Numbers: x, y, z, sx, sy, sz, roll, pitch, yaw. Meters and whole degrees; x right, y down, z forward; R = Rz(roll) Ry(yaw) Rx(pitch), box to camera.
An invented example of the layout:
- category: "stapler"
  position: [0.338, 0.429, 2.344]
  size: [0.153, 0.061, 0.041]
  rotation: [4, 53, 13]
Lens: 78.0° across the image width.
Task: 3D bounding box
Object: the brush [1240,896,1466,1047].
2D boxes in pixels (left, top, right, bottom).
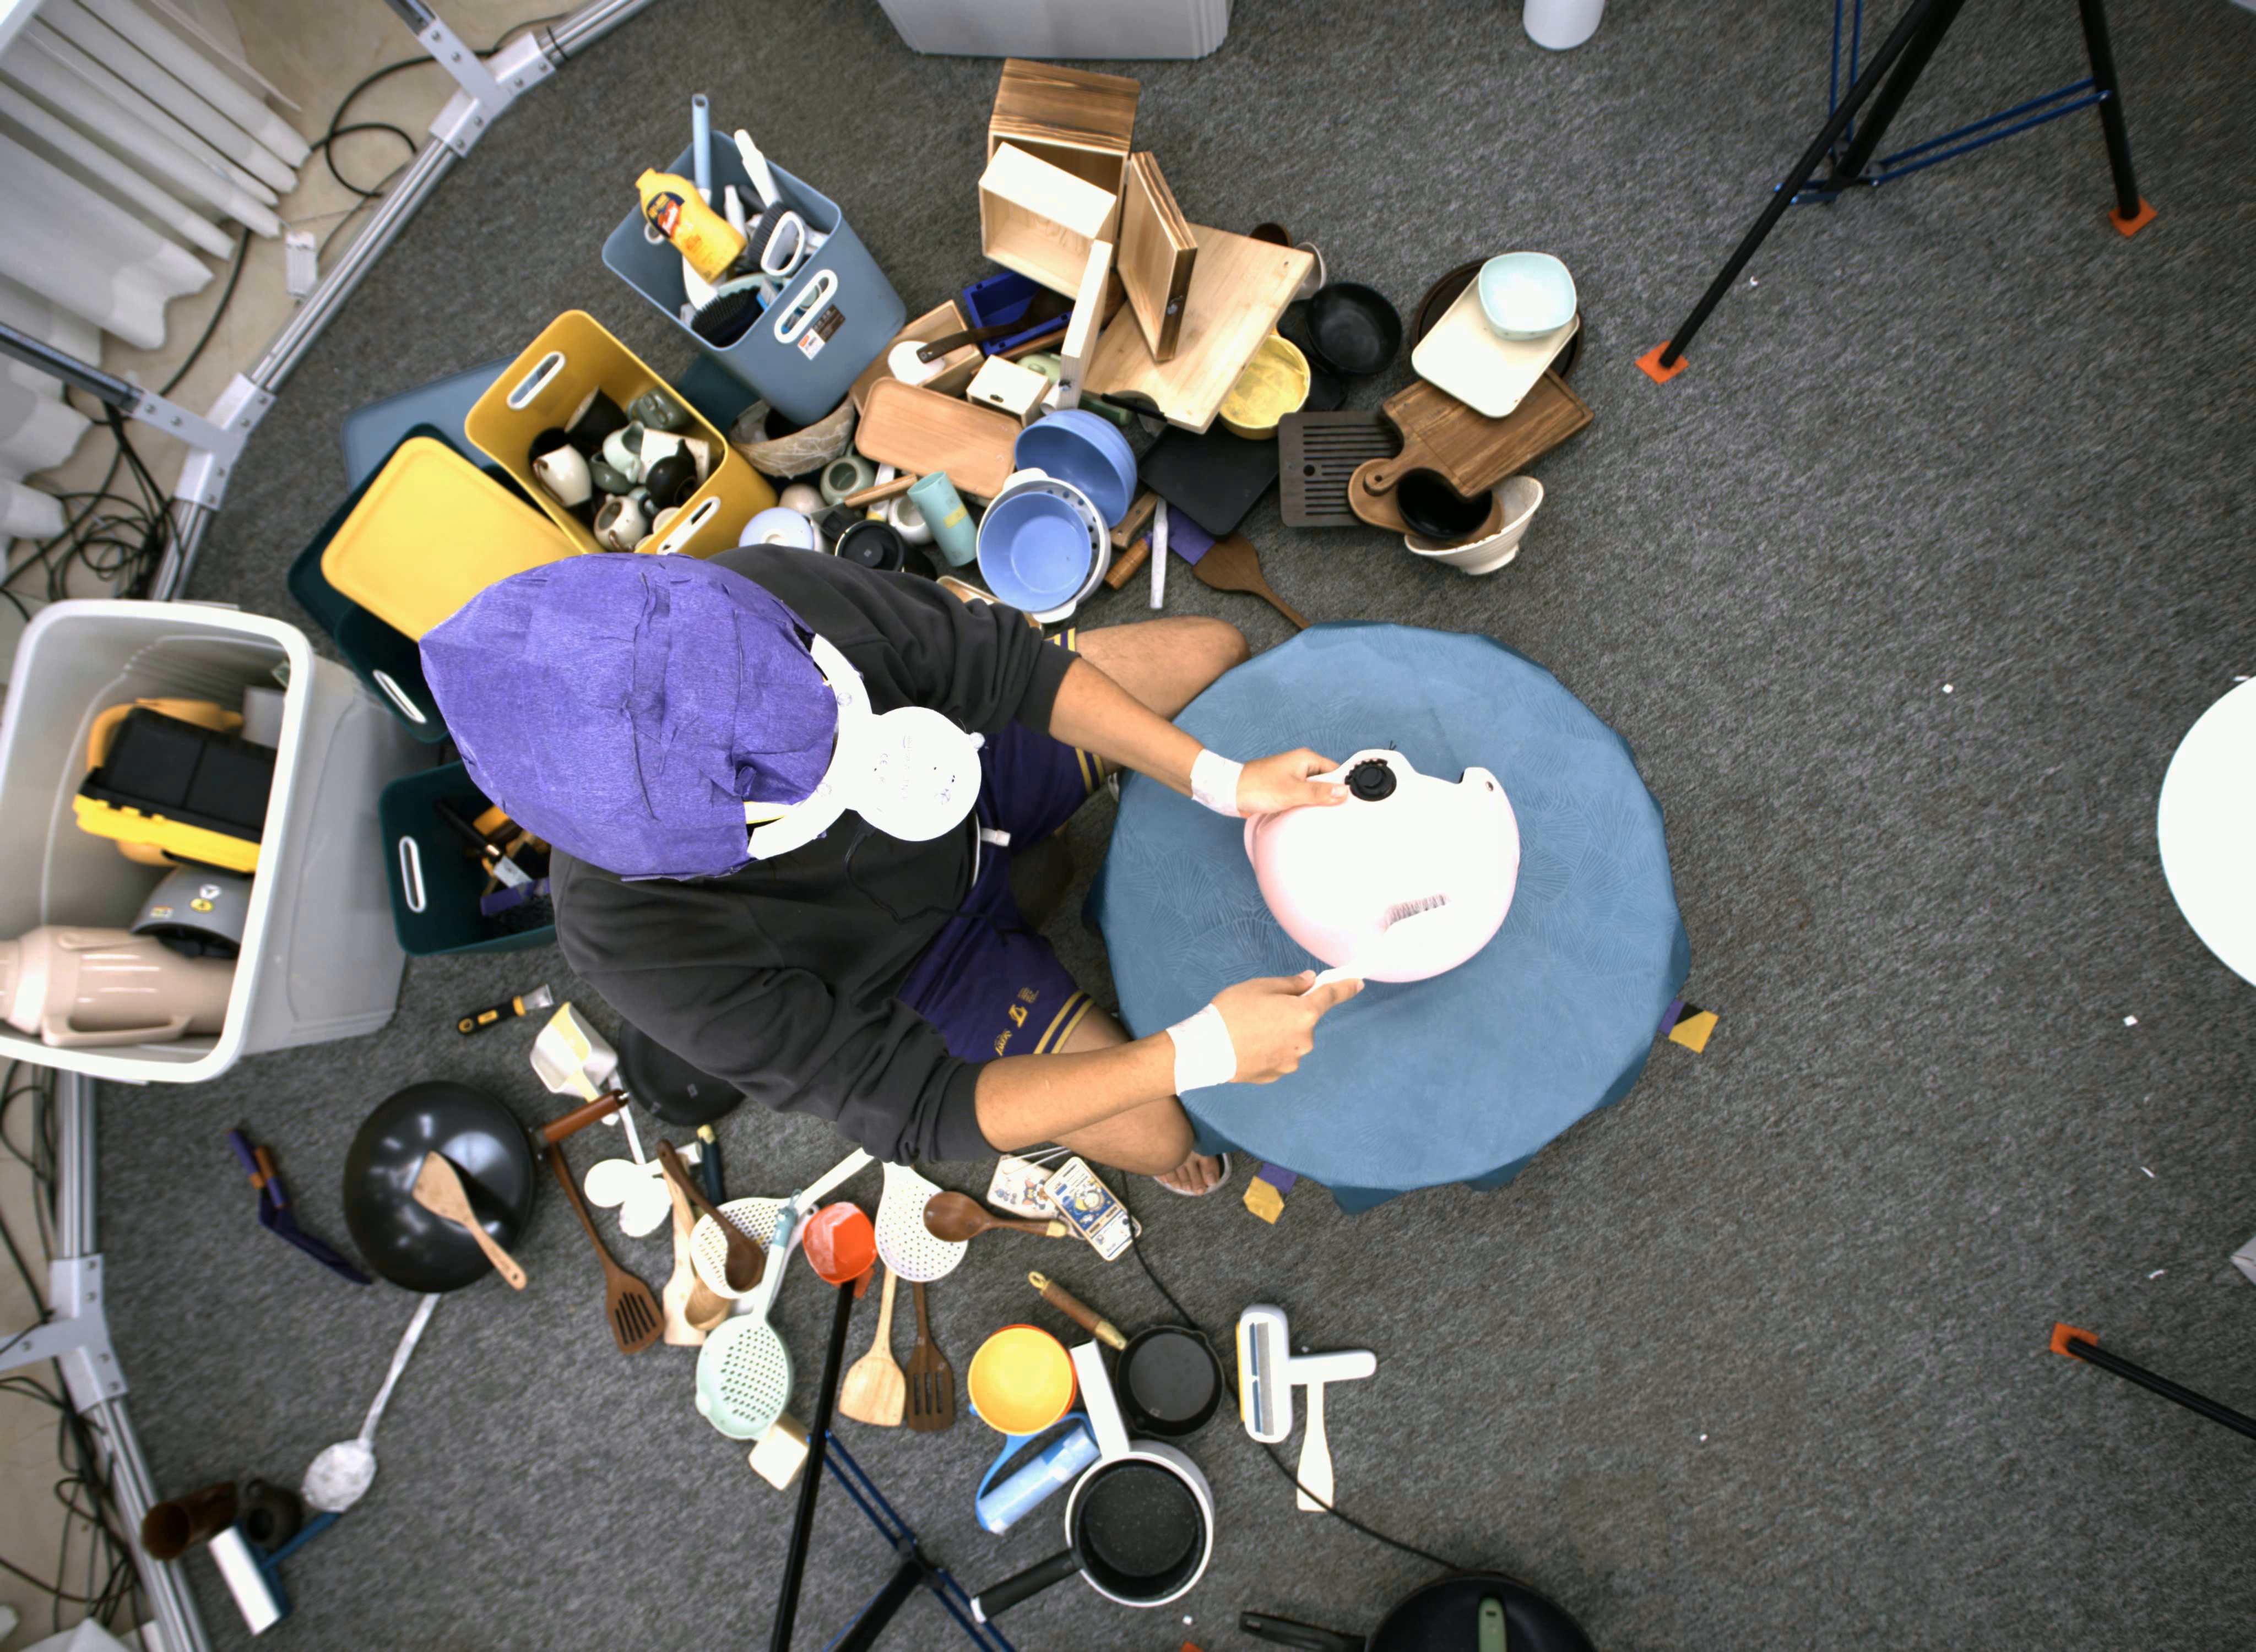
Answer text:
- category: "brush"
  position: [0.189, 0.121, 1.189]
  size: [0.241, 0.050, 0.035]
  rotation: [-25, 111, -17]

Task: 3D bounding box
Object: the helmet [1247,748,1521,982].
- category: "helmet"
  position: [0.242, 0.056, 1.319]
  size: [0.266, 0.240, 0.154]
  rotation: [6, 50, 4]
